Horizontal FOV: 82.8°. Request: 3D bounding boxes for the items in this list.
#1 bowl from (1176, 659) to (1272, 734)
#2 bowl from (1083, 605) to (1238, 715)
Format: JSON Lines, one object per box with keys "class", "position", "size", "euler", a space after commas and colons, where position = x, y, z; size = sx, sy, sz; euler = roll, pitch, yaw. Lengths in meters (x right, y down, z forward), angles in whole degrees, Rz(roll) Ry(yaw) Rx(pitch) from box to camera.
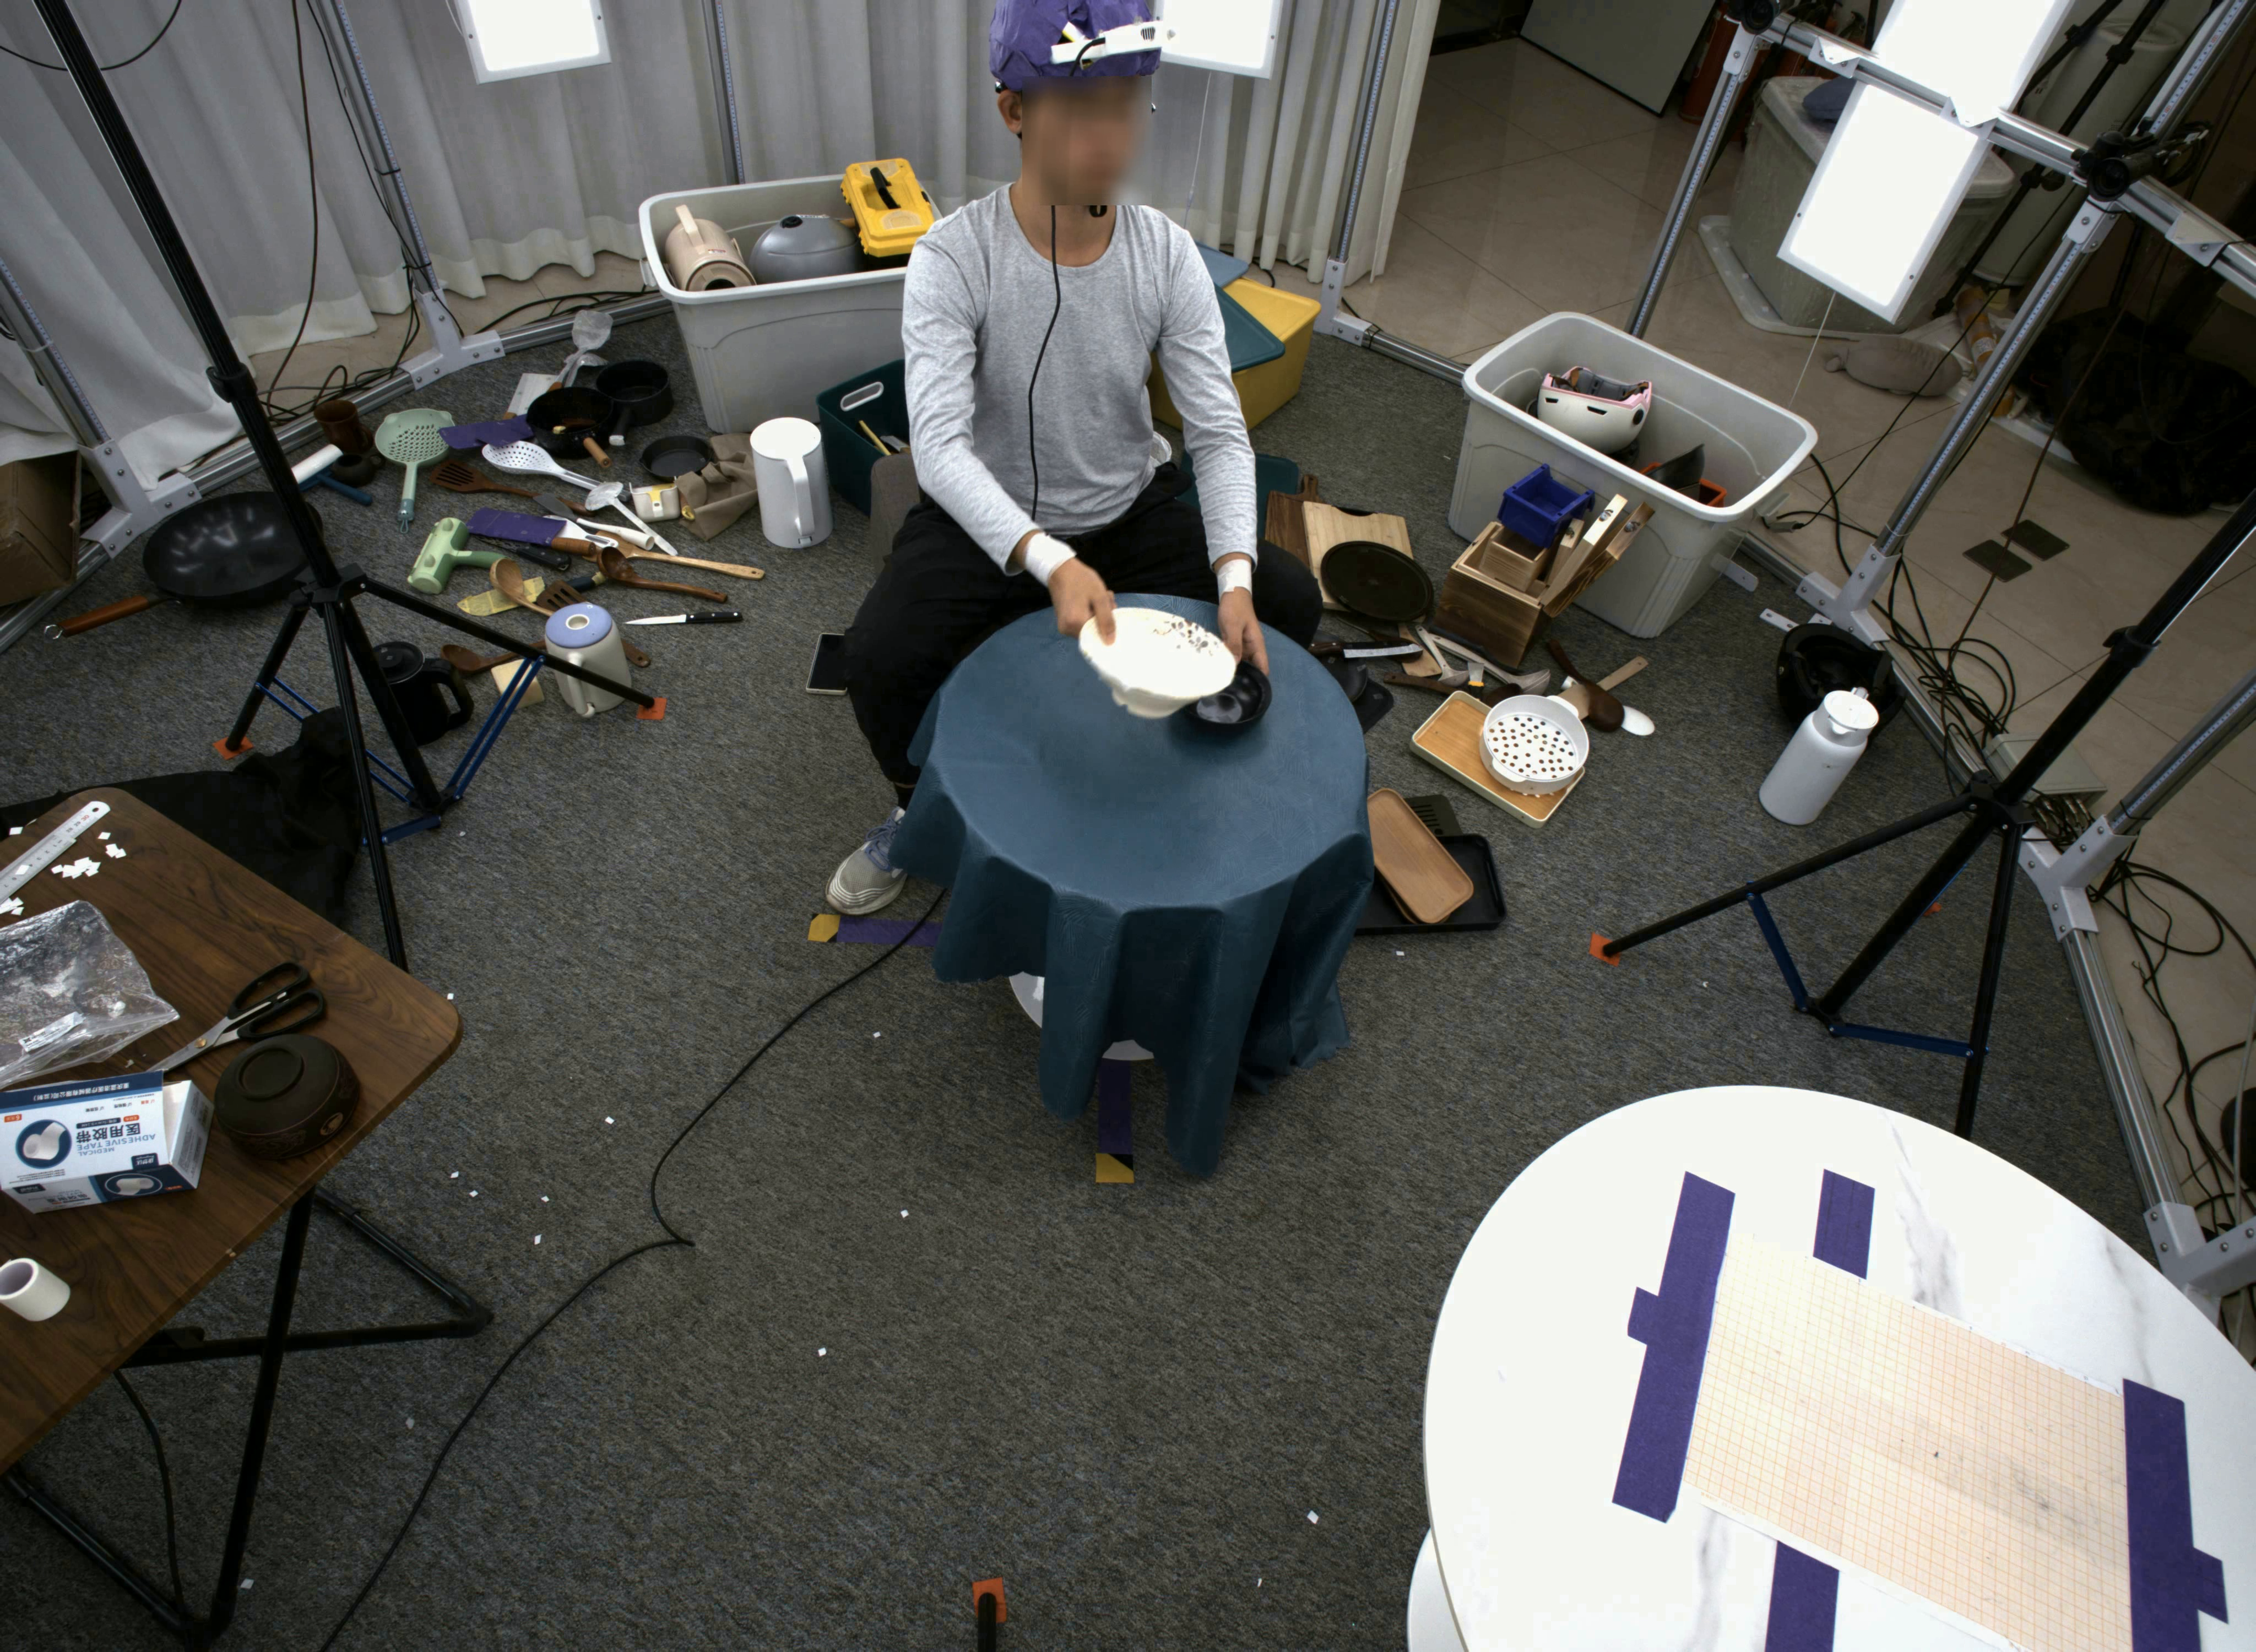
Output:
{"class": "bowl", "position": [0.130, -0.175, 1.799], "size": [0.140, 0.048, 0.143], "euler": [2, 45, -3]}
{"class": "bowl", "position": [0.033, -0.198, 1.645], "size": [0.203, 0.076, 0.209], "euler": [11, 35, -8]}
